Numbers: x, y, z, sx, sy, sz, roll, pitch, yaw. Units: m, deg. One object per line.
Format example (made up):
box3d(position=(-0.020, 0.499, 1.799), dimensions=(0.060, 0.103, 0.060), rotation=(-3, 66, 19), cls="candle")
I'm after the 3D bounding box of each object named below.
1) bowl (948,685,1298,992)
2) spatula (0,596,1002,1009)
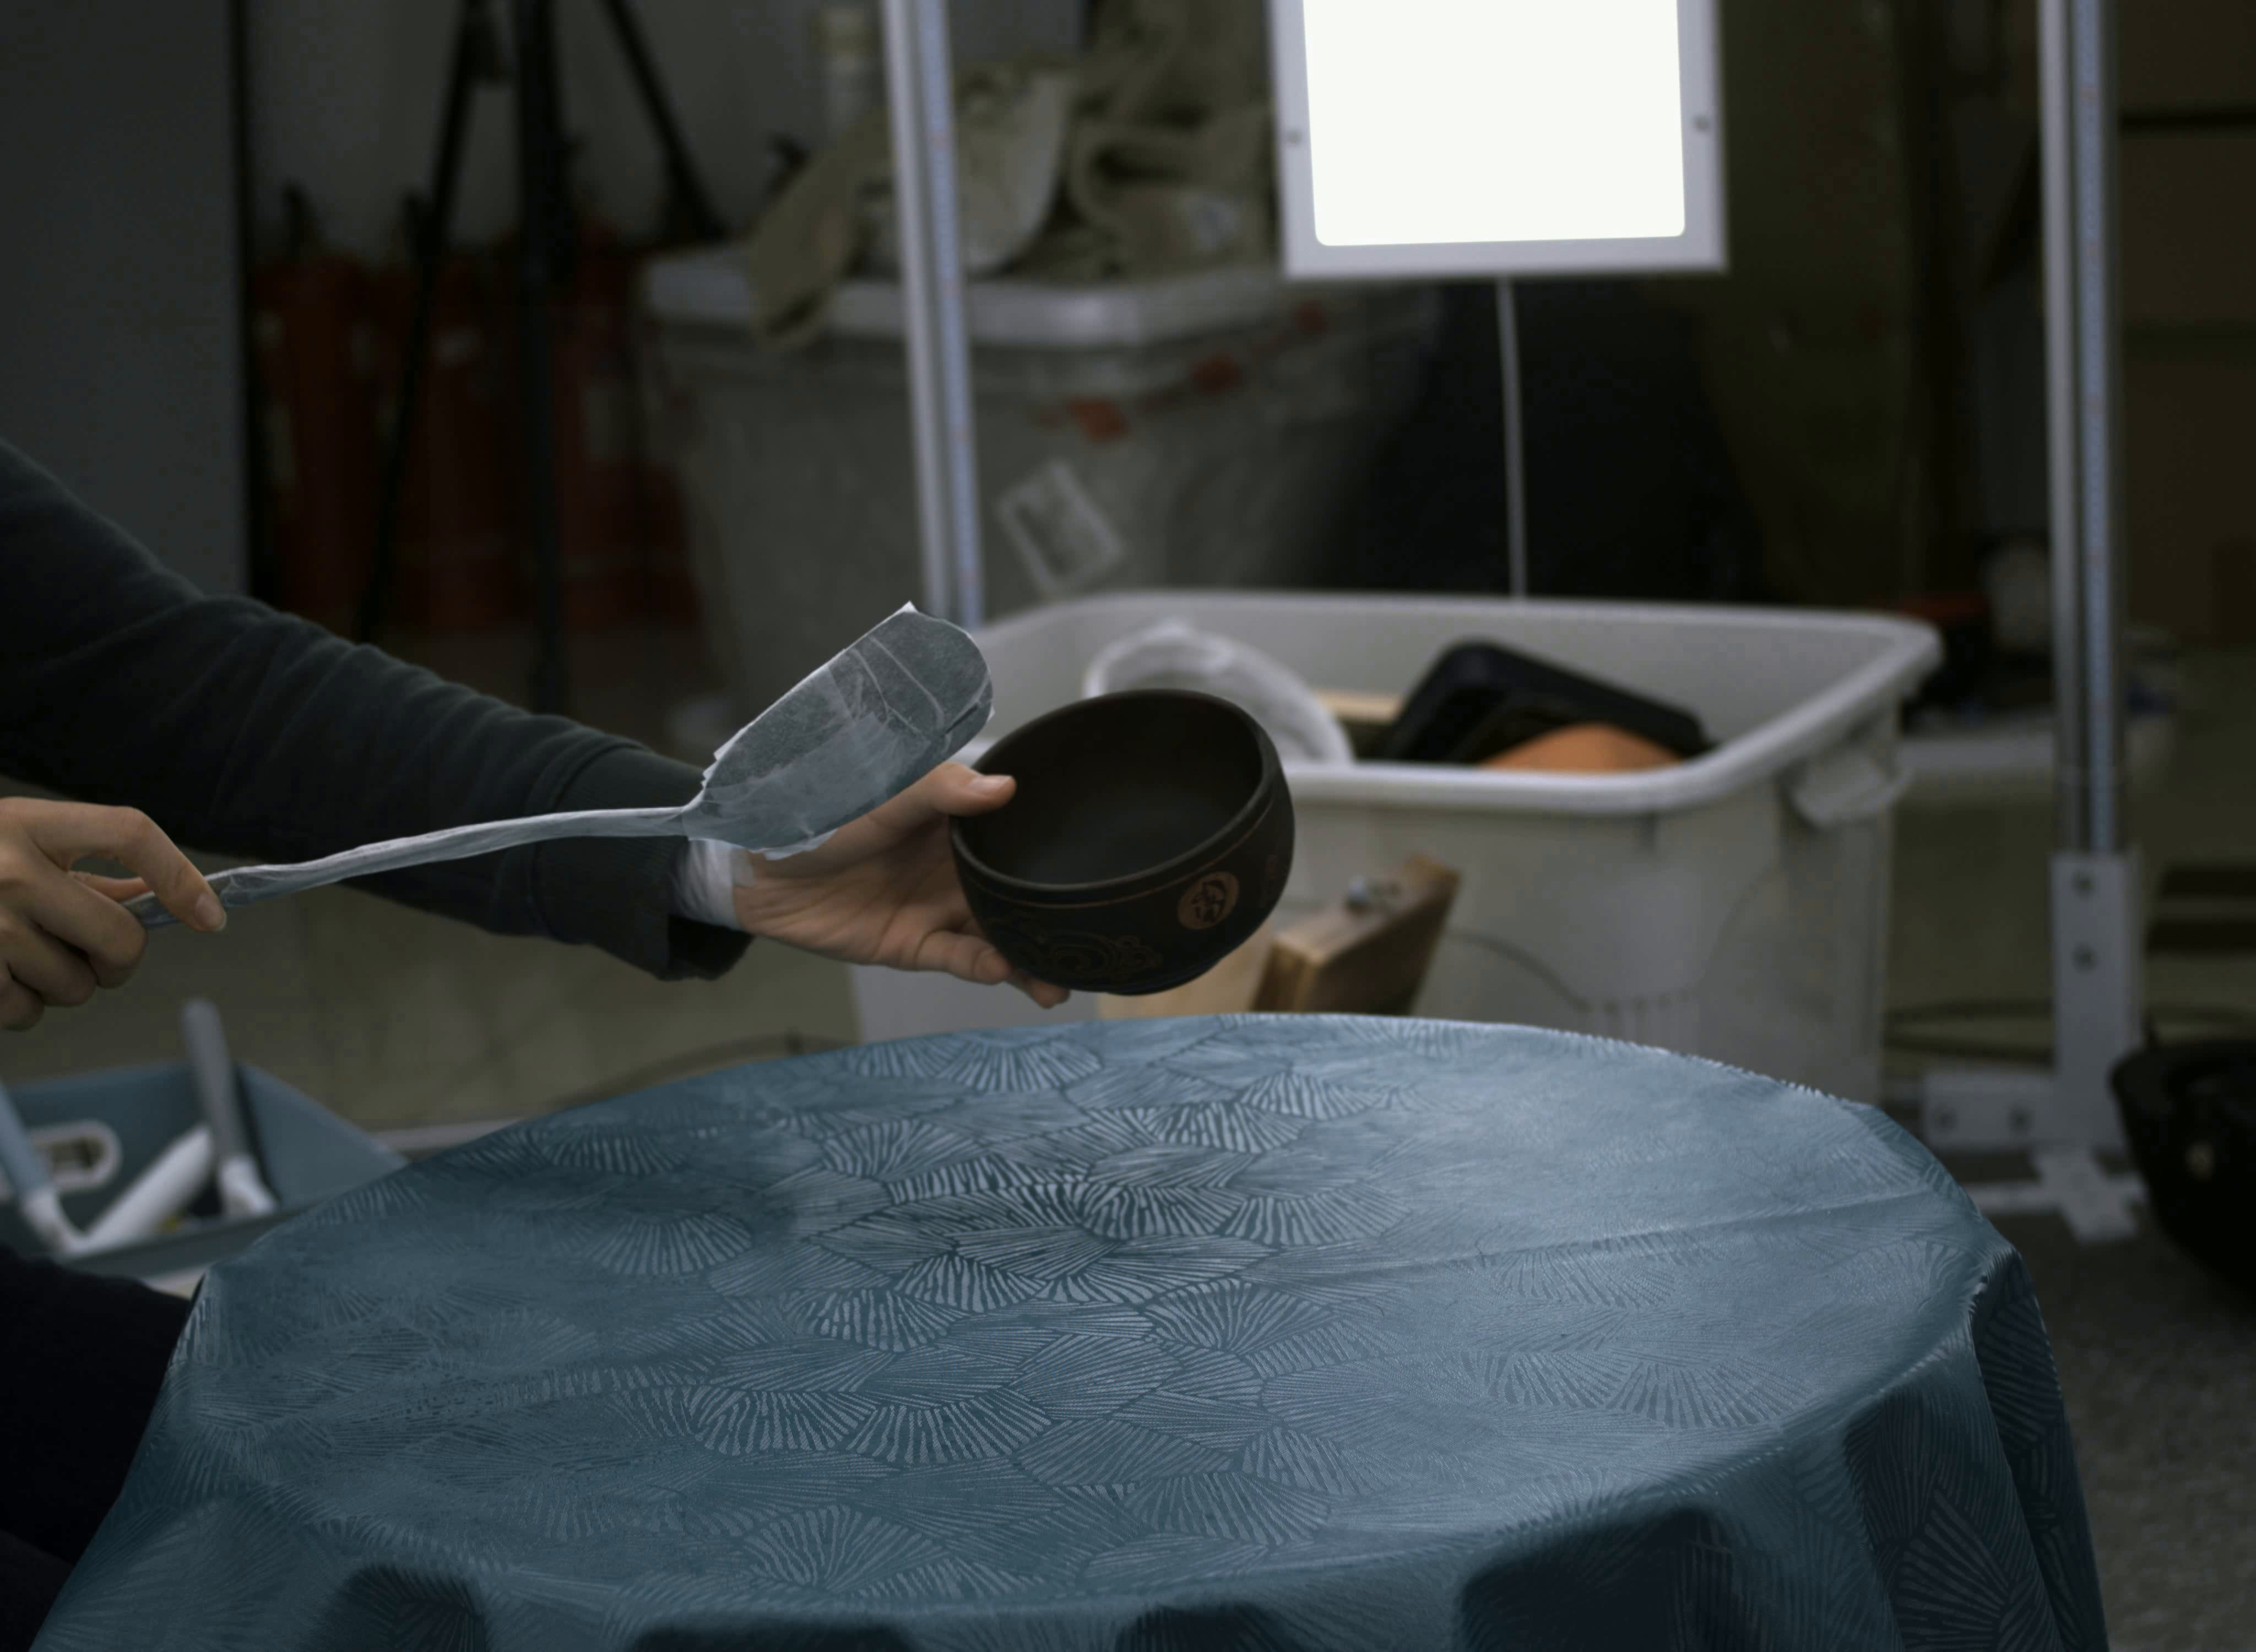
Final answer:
box3d(position=(0.002, 0.012, 1.868), dimensions=(0.118, 0.070, 0.118), rotation=(-13, 32, 7), cls="bowl")
box3d(position=(-0.215, 0.004, 1.753), dimensions=(0.366, 0.045, 0.098), rotation=(-14, -25, 8), cls="spatula")
